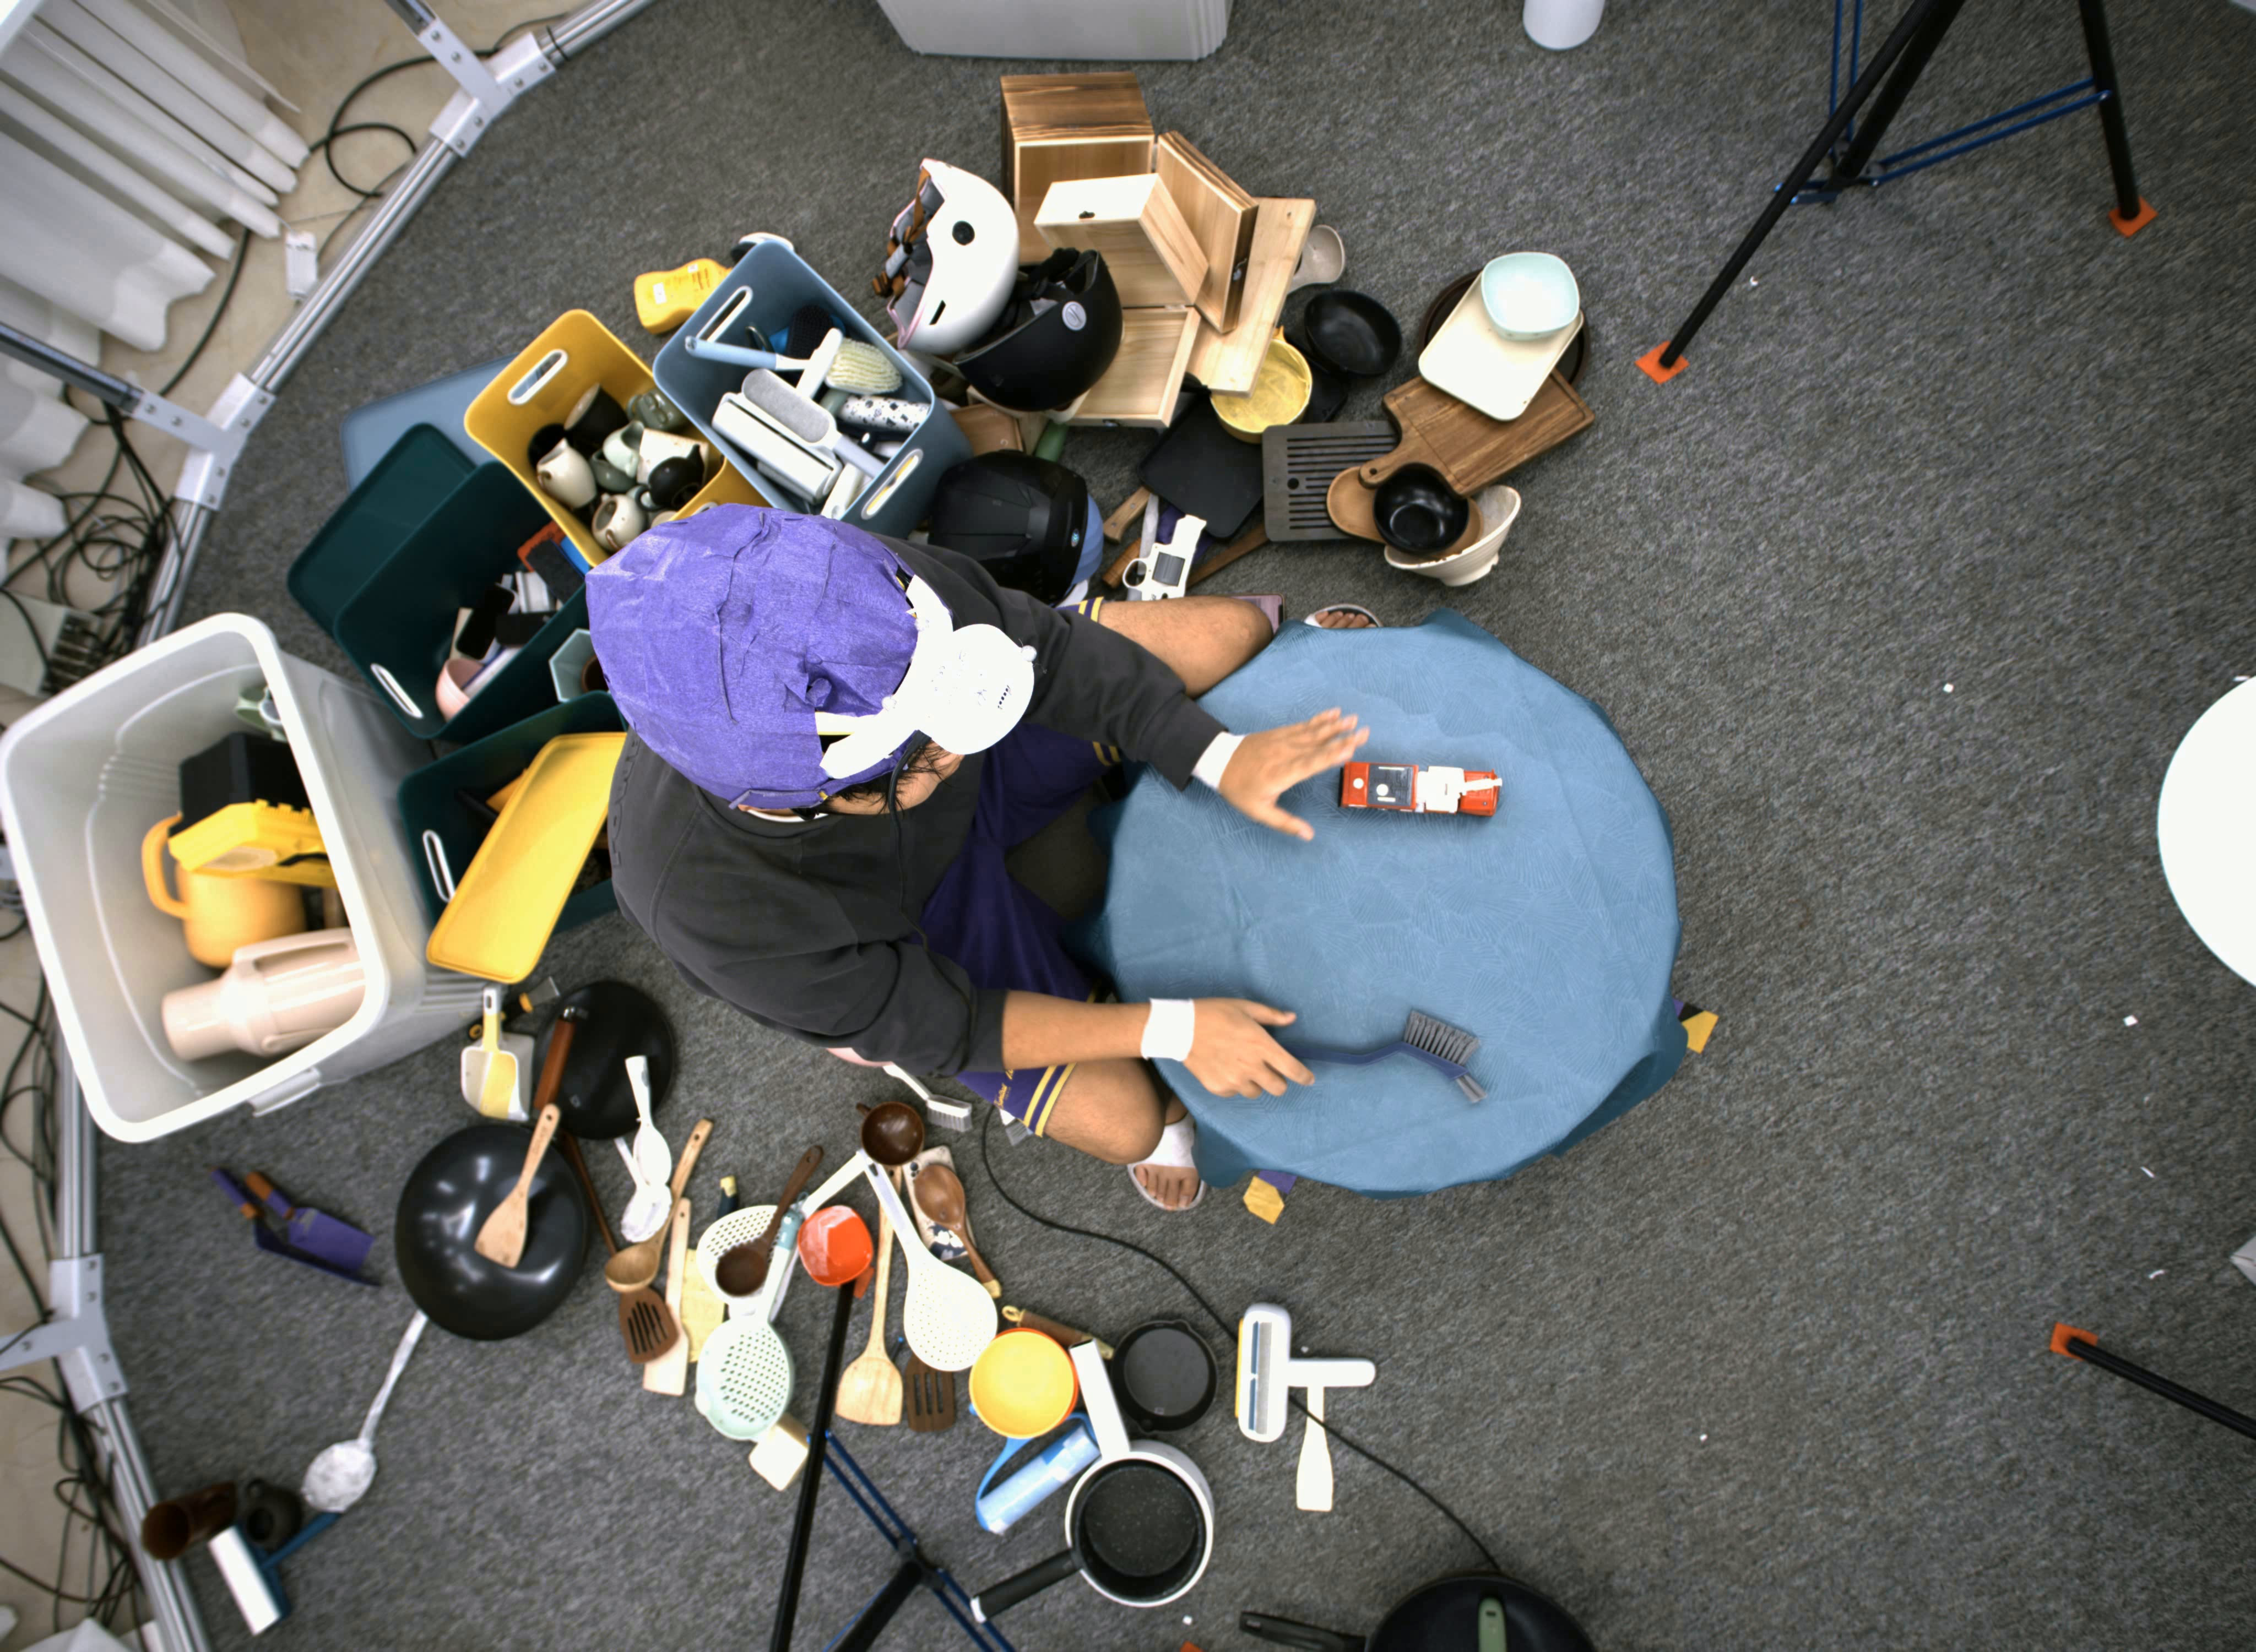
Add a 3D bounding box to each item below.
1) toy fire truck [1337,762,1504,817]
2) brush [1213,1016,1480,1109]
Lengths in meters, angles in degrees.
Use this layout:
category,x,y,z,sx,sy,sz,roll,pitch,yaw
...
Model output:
category,x,y,z,sx,sy,sz,roll,pitch,yaw
toy fire truck,0.302,-0.040,1.430,0.168,0.070,0.054,3,86,11
brush,0.226,0.246,1.441,0.274,0.033,0.095,-2,86,9
